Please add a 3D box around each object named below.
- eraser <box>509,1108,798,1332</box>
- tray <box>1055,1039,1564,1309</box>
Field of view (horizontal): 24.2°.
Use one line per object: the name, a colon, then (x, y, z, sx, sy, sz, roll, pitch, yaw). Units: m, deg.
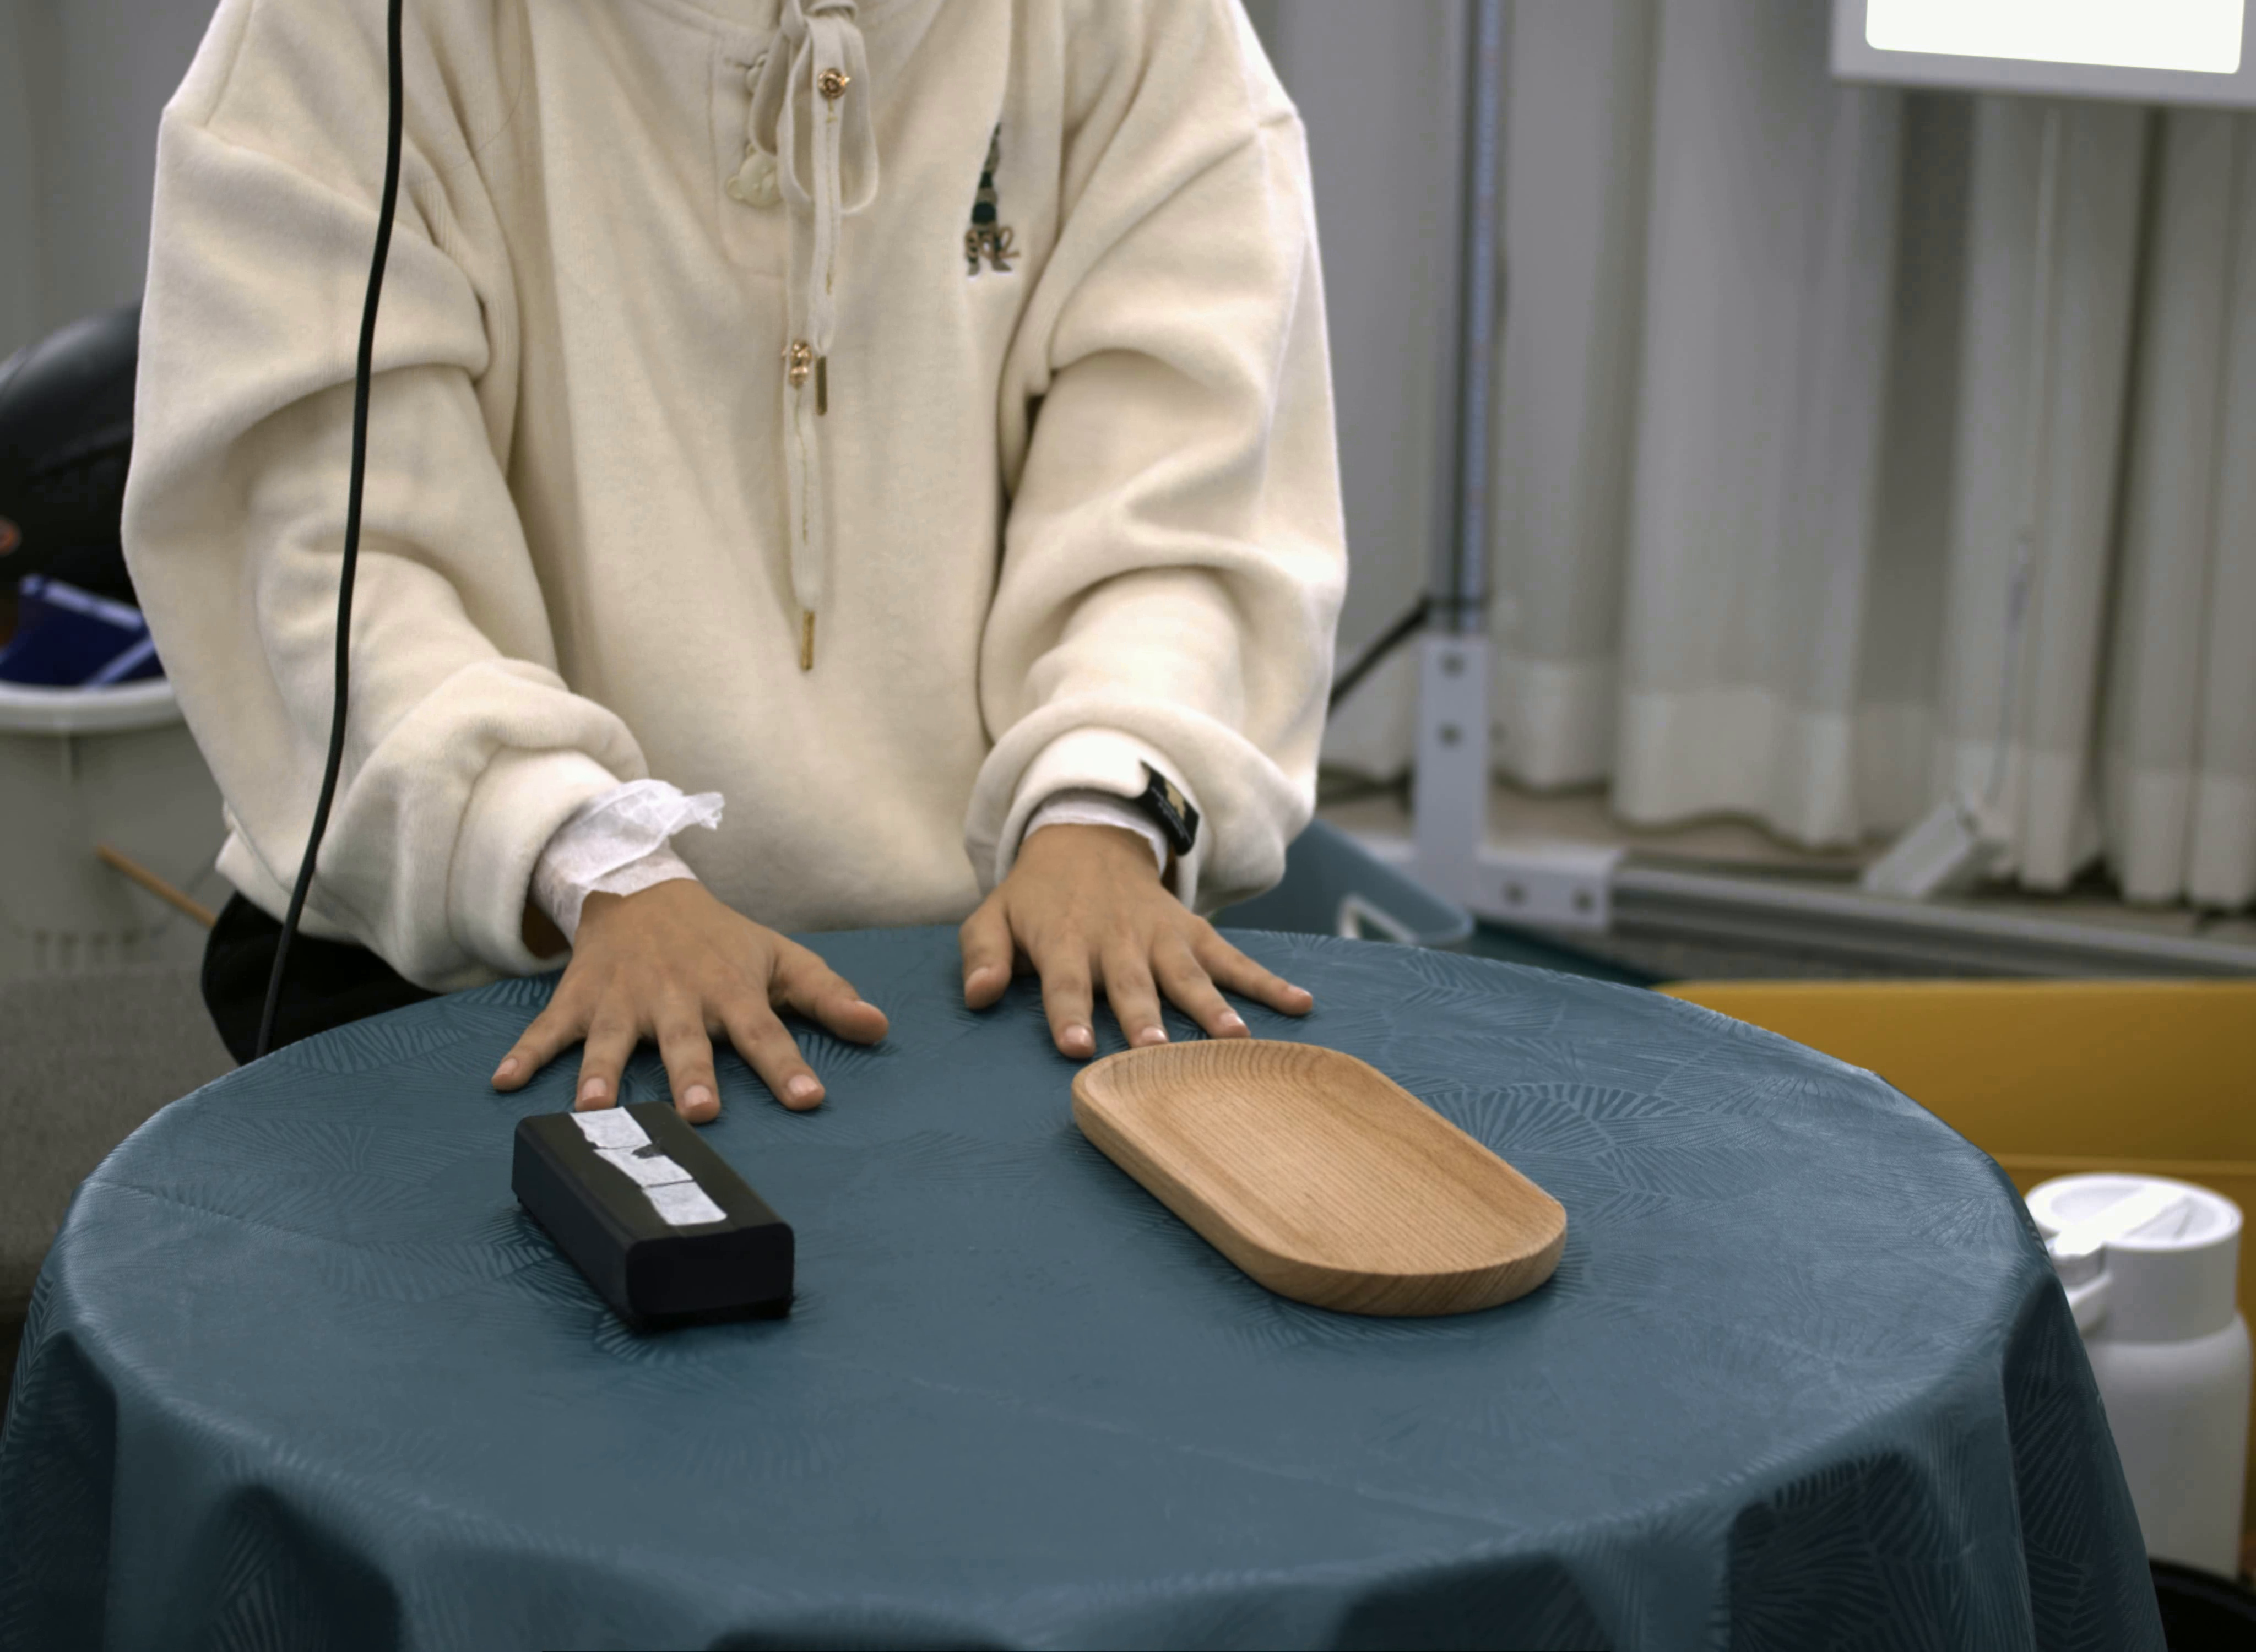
eraser: (-0.141, 0.115, 1.553, 0.054, 0.030, 0.124, 0, 15, -23)
tray: (0.053, 0.105, 1.620, 0.102, 0.020, 0.228, -6, 15, -23)
